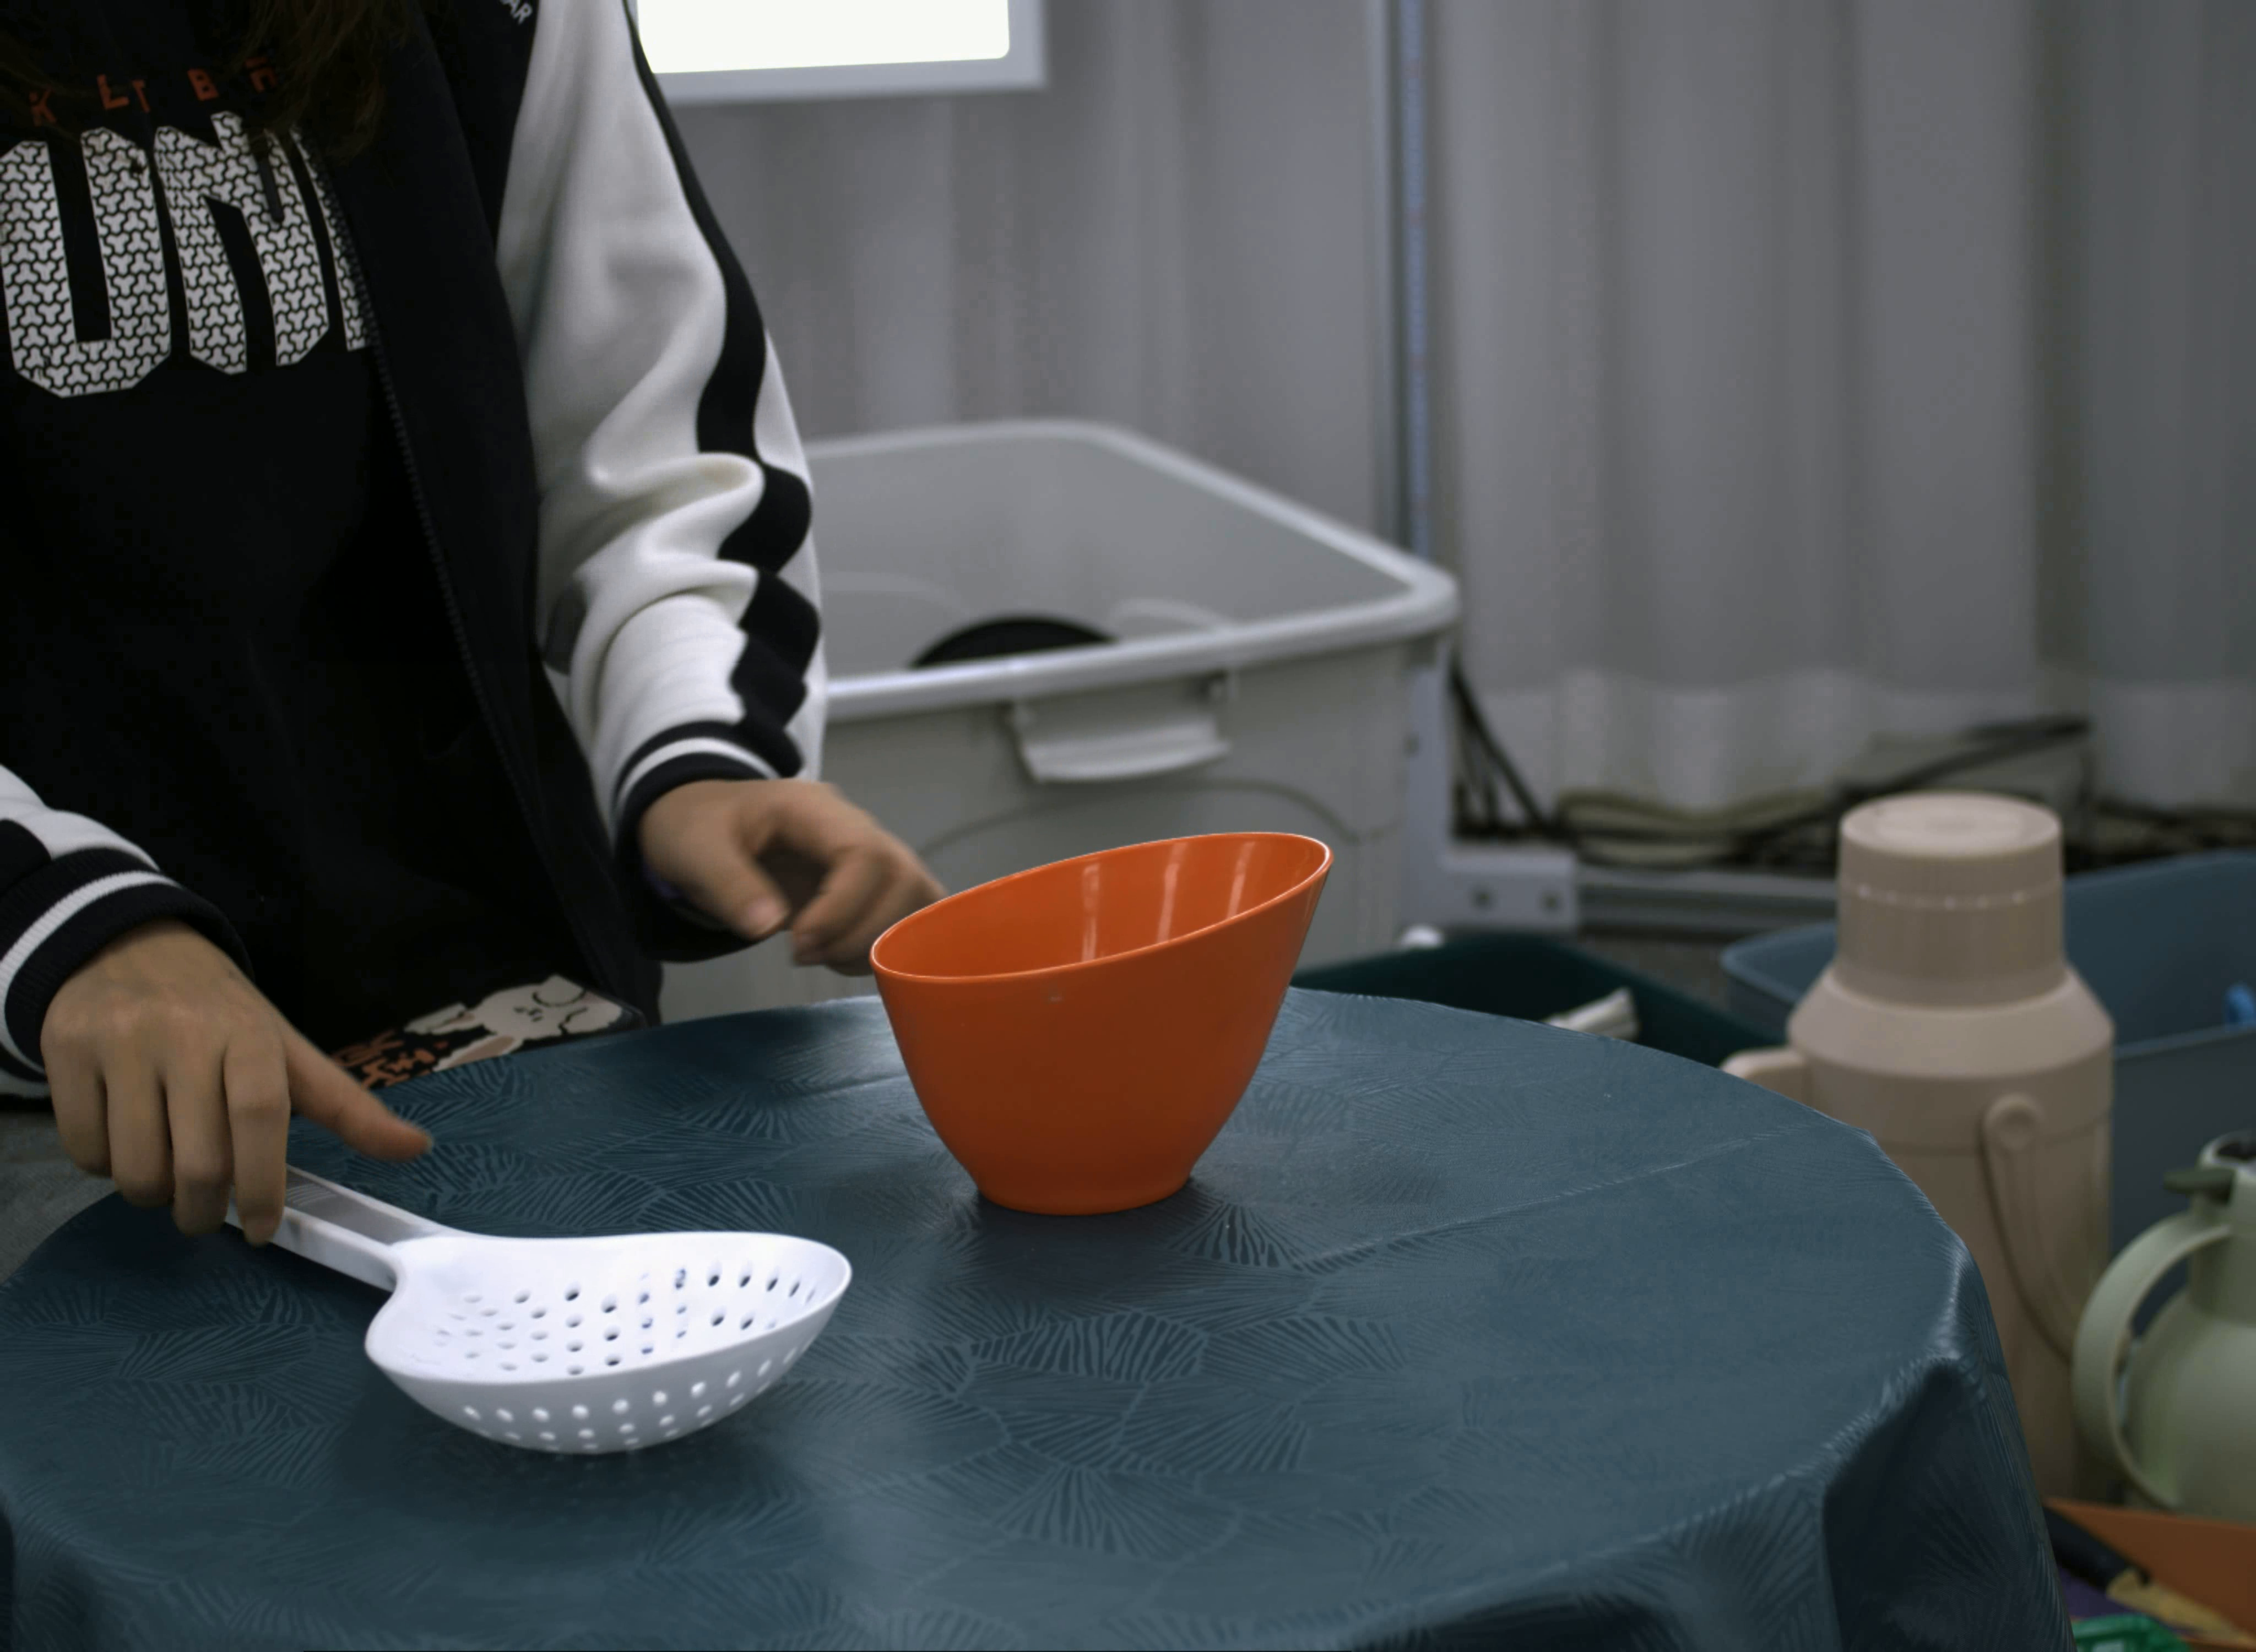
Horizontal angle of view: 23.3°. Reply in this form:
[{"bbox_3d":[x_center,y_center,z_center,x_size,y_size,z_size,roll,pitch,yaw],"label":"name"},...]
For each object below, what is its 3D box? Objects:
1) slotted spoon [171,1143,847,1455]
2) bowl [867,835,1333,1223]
[{"bbox_3d":[-0.203,0.129,1.611,0.135,0.045,0.352,-13,17,-31],"label":"slotted spoon"},{"bbox_3d":[-0.007,0.065,1.710,0.147,0.104,0.149,-4,15,1],"label":"bowl"}]
